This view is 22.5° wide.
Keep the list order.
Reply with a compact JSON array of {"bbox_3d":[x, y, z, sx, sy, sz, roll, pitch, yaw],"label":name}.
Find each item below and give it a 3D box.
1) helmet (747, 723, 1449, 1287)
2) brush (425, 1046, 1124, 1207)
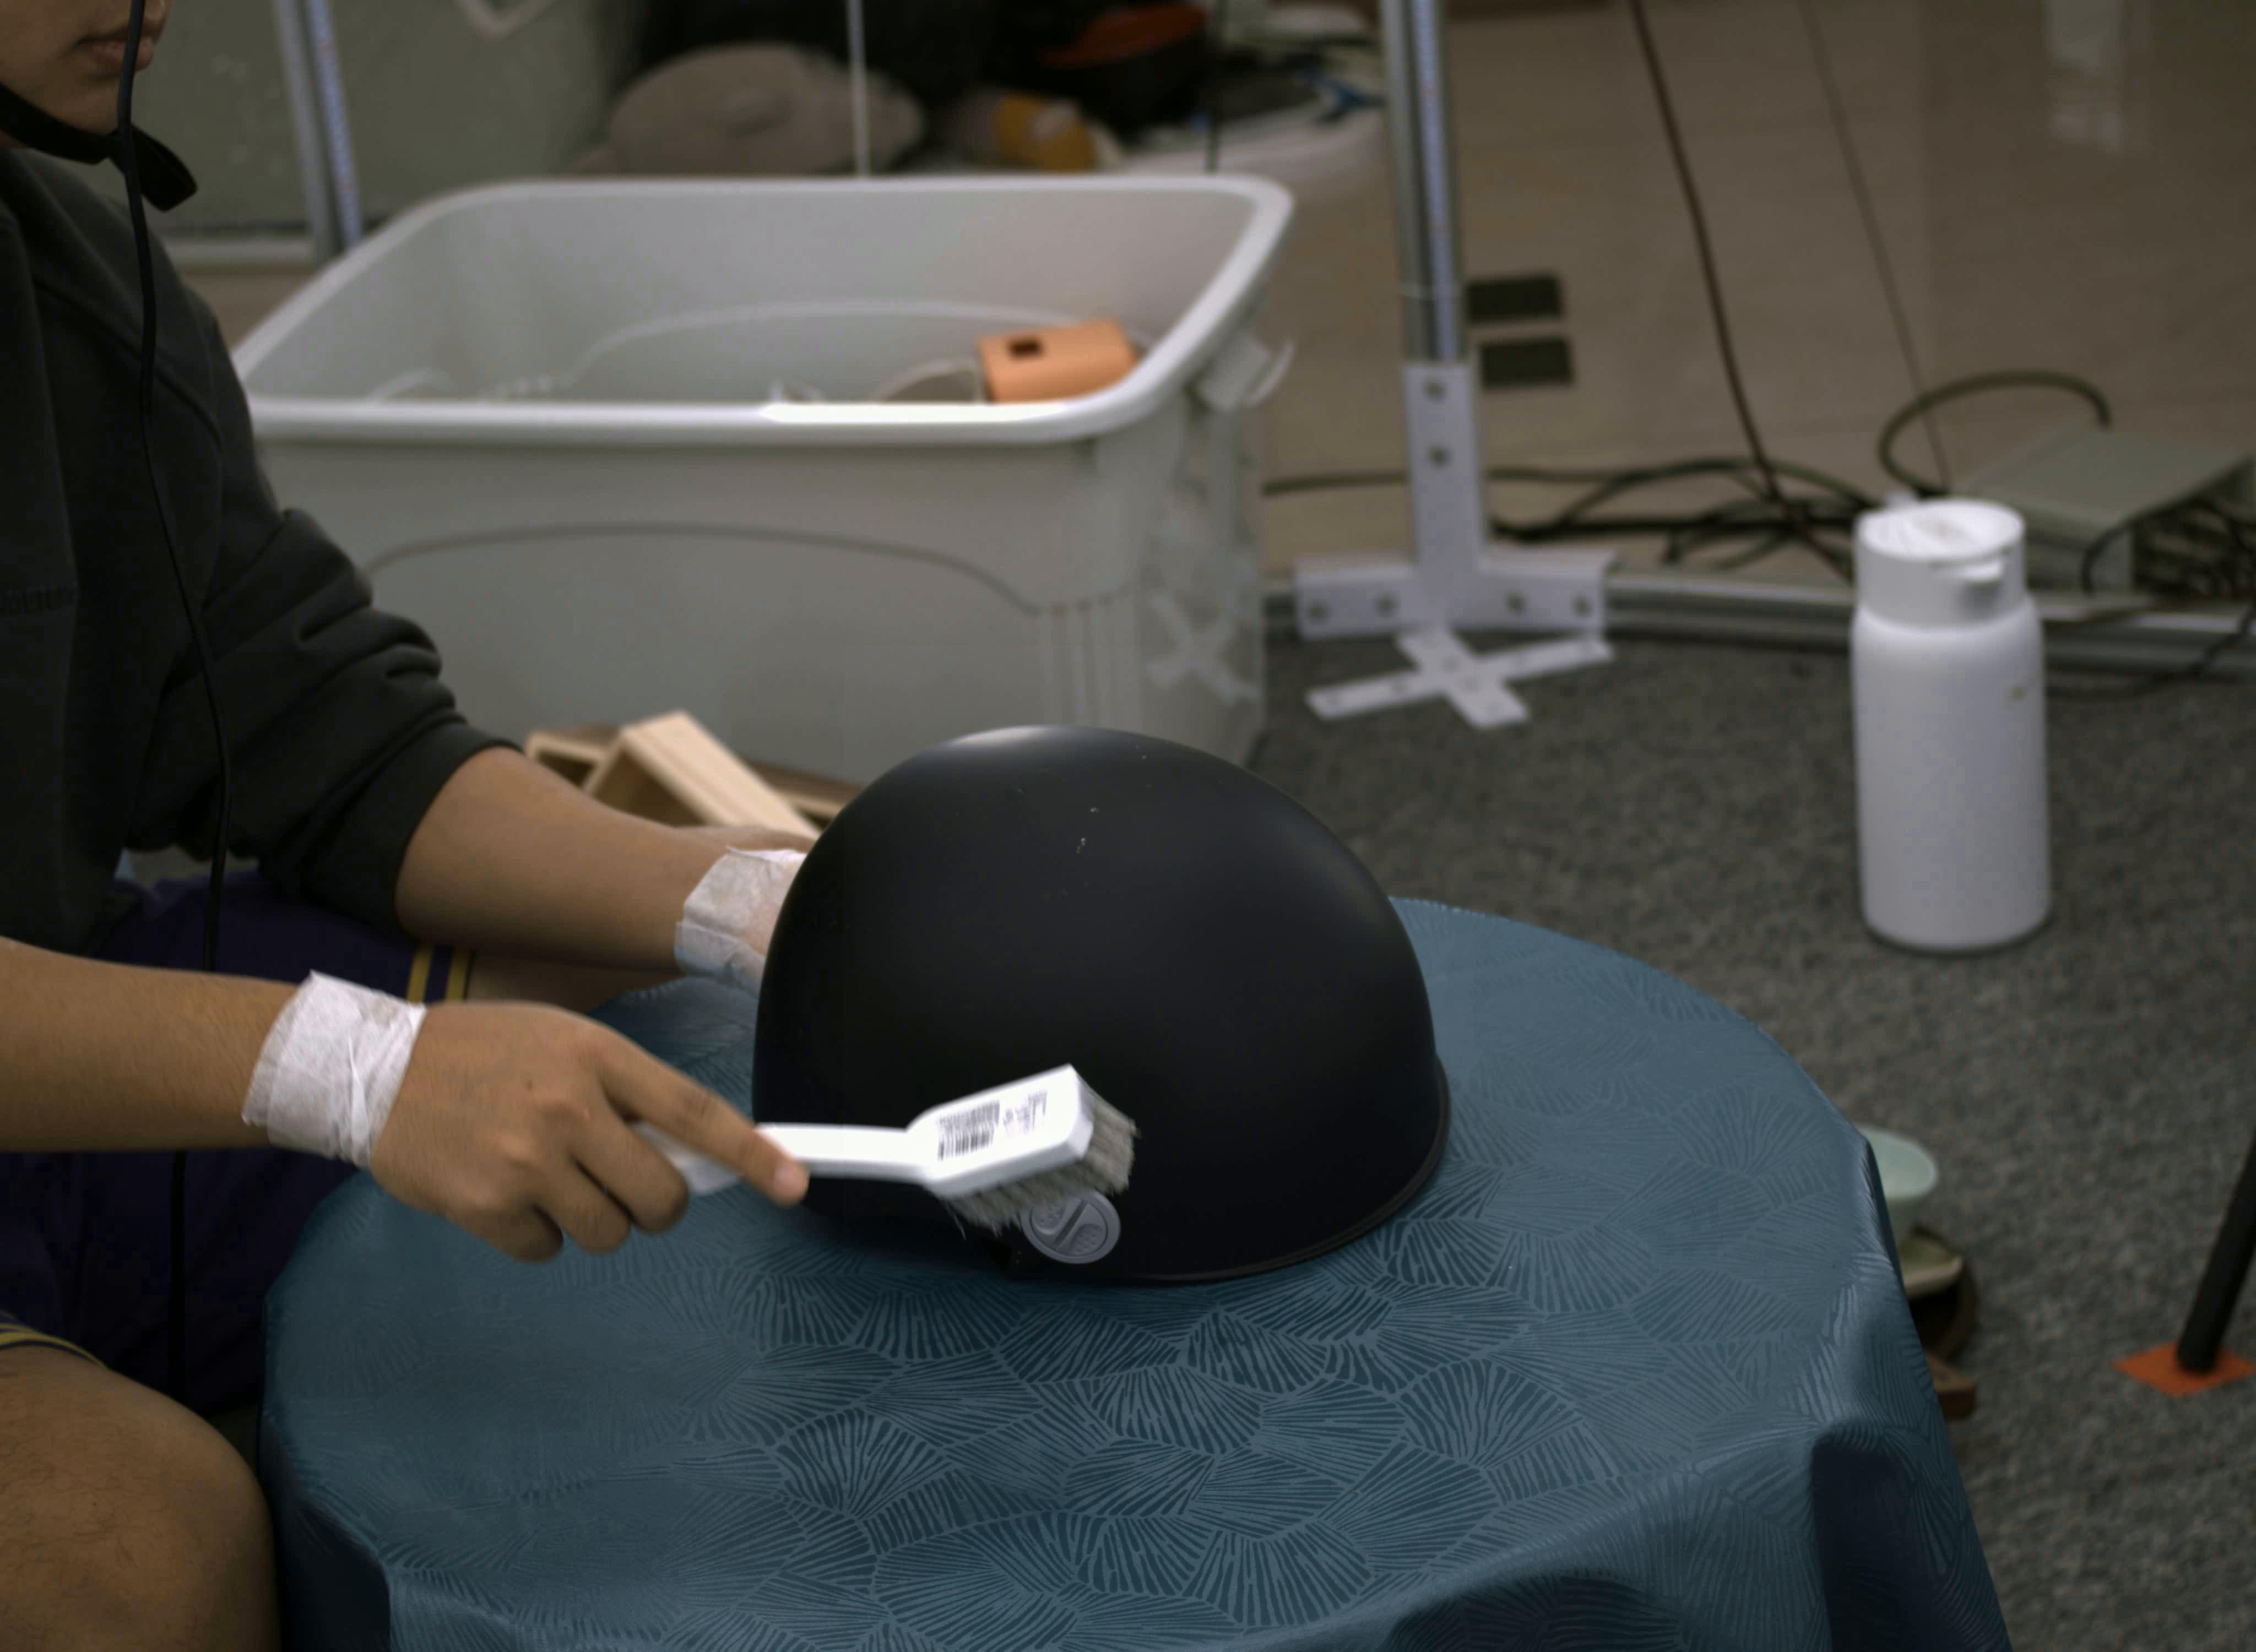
[{"bbox_3d":[-0.018,0.052,2.133,0.272,0.170,0.227,10,39,25],"label":"helmet"},{"bbox_3d":[-0.122,0.115,1.964,0.243,0.051,0.034,-8,49,9],"label":"brush"}]
